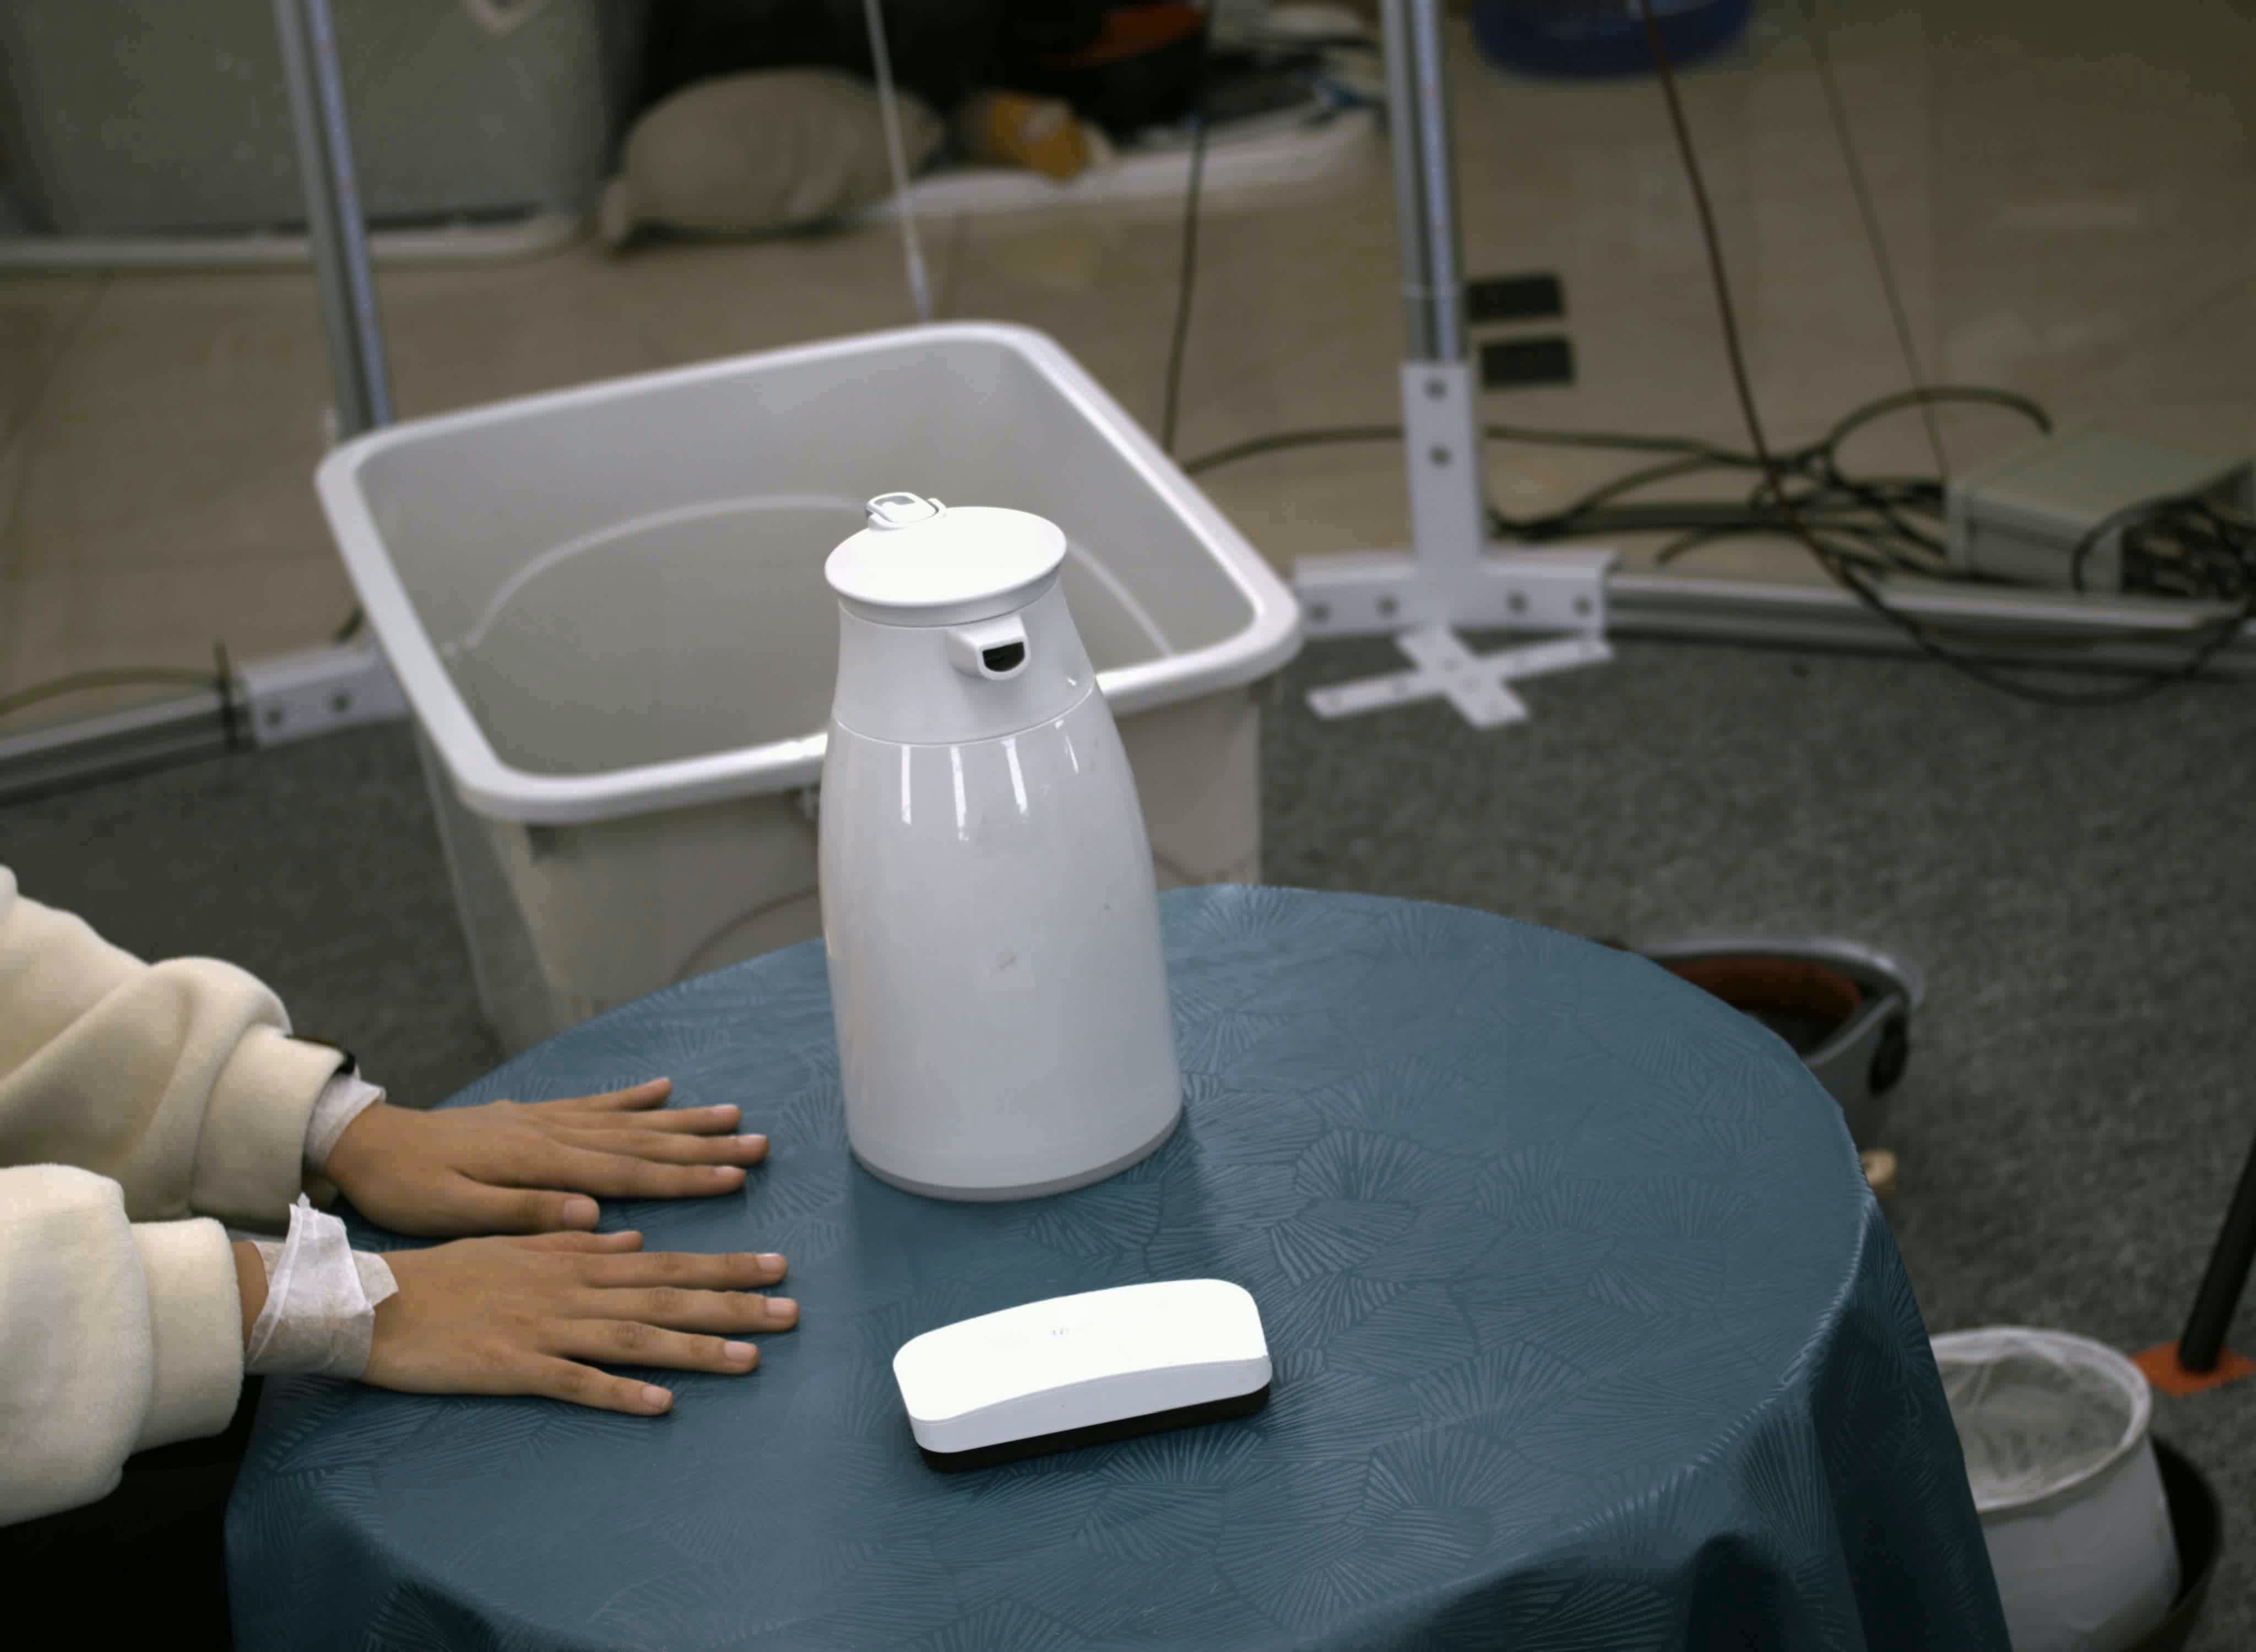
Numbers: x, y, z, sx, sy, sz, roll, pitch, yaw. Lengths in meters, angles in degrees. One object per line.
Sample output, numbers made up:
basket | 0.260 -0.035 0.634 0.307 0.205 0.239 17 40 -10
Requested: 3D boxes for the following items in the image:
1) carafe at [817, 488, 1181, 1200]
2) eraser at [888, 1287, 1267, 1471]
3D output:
carafe | -0.064 -0.003 2.170 0.132 0.252 0.165 -15 26 -17
eraser | -0.018 0.192 2.002 0.131 0.035 0.062 -10 24 -7
